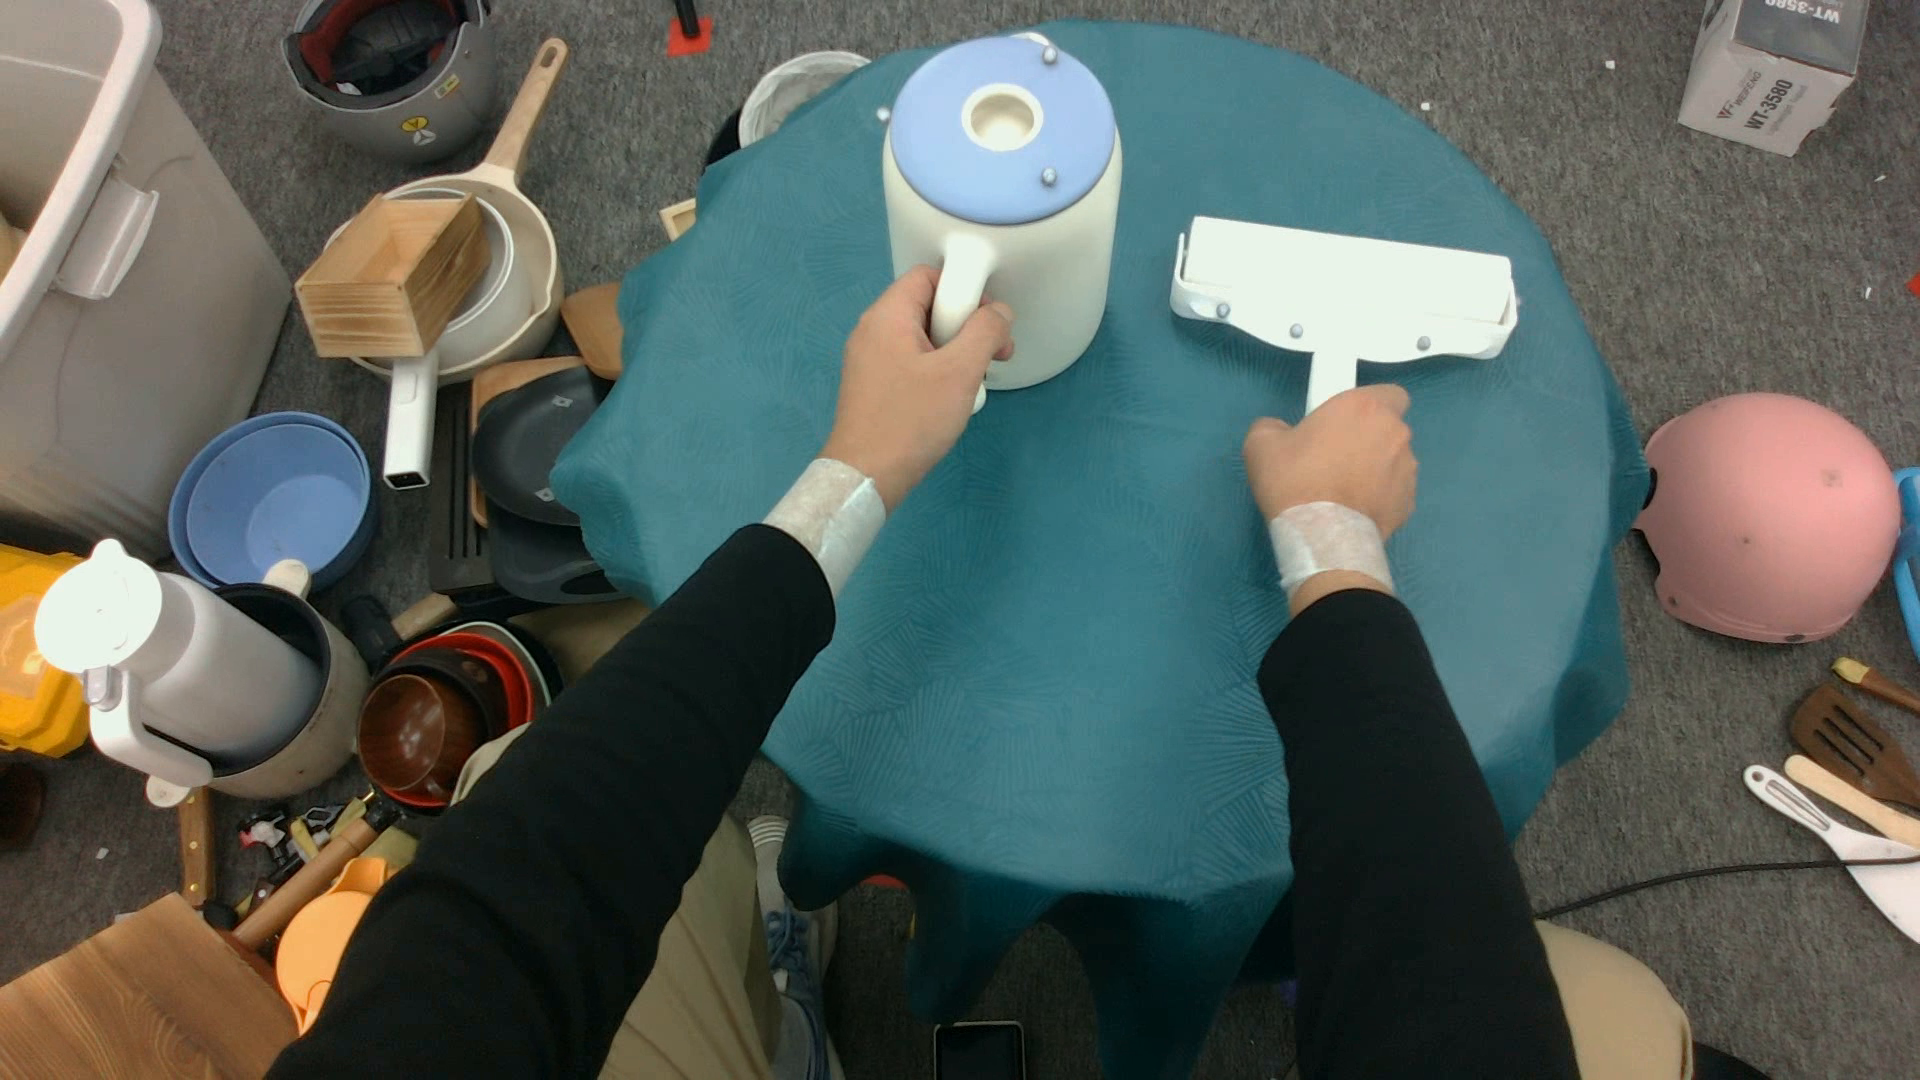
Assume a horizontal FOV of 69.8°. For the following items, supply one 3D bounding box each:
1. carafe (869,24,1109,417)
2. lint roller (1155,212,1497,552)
[{"bbox_3d":[0.011,-0.166,0.787,0.132,0.182,0.192,12,70,7],"label":"carafe"},{"bbox_3d":[0.211,-0.094,0.804,0.203,0.048,0.226,9,57,3],"label":"lint roller"}]
